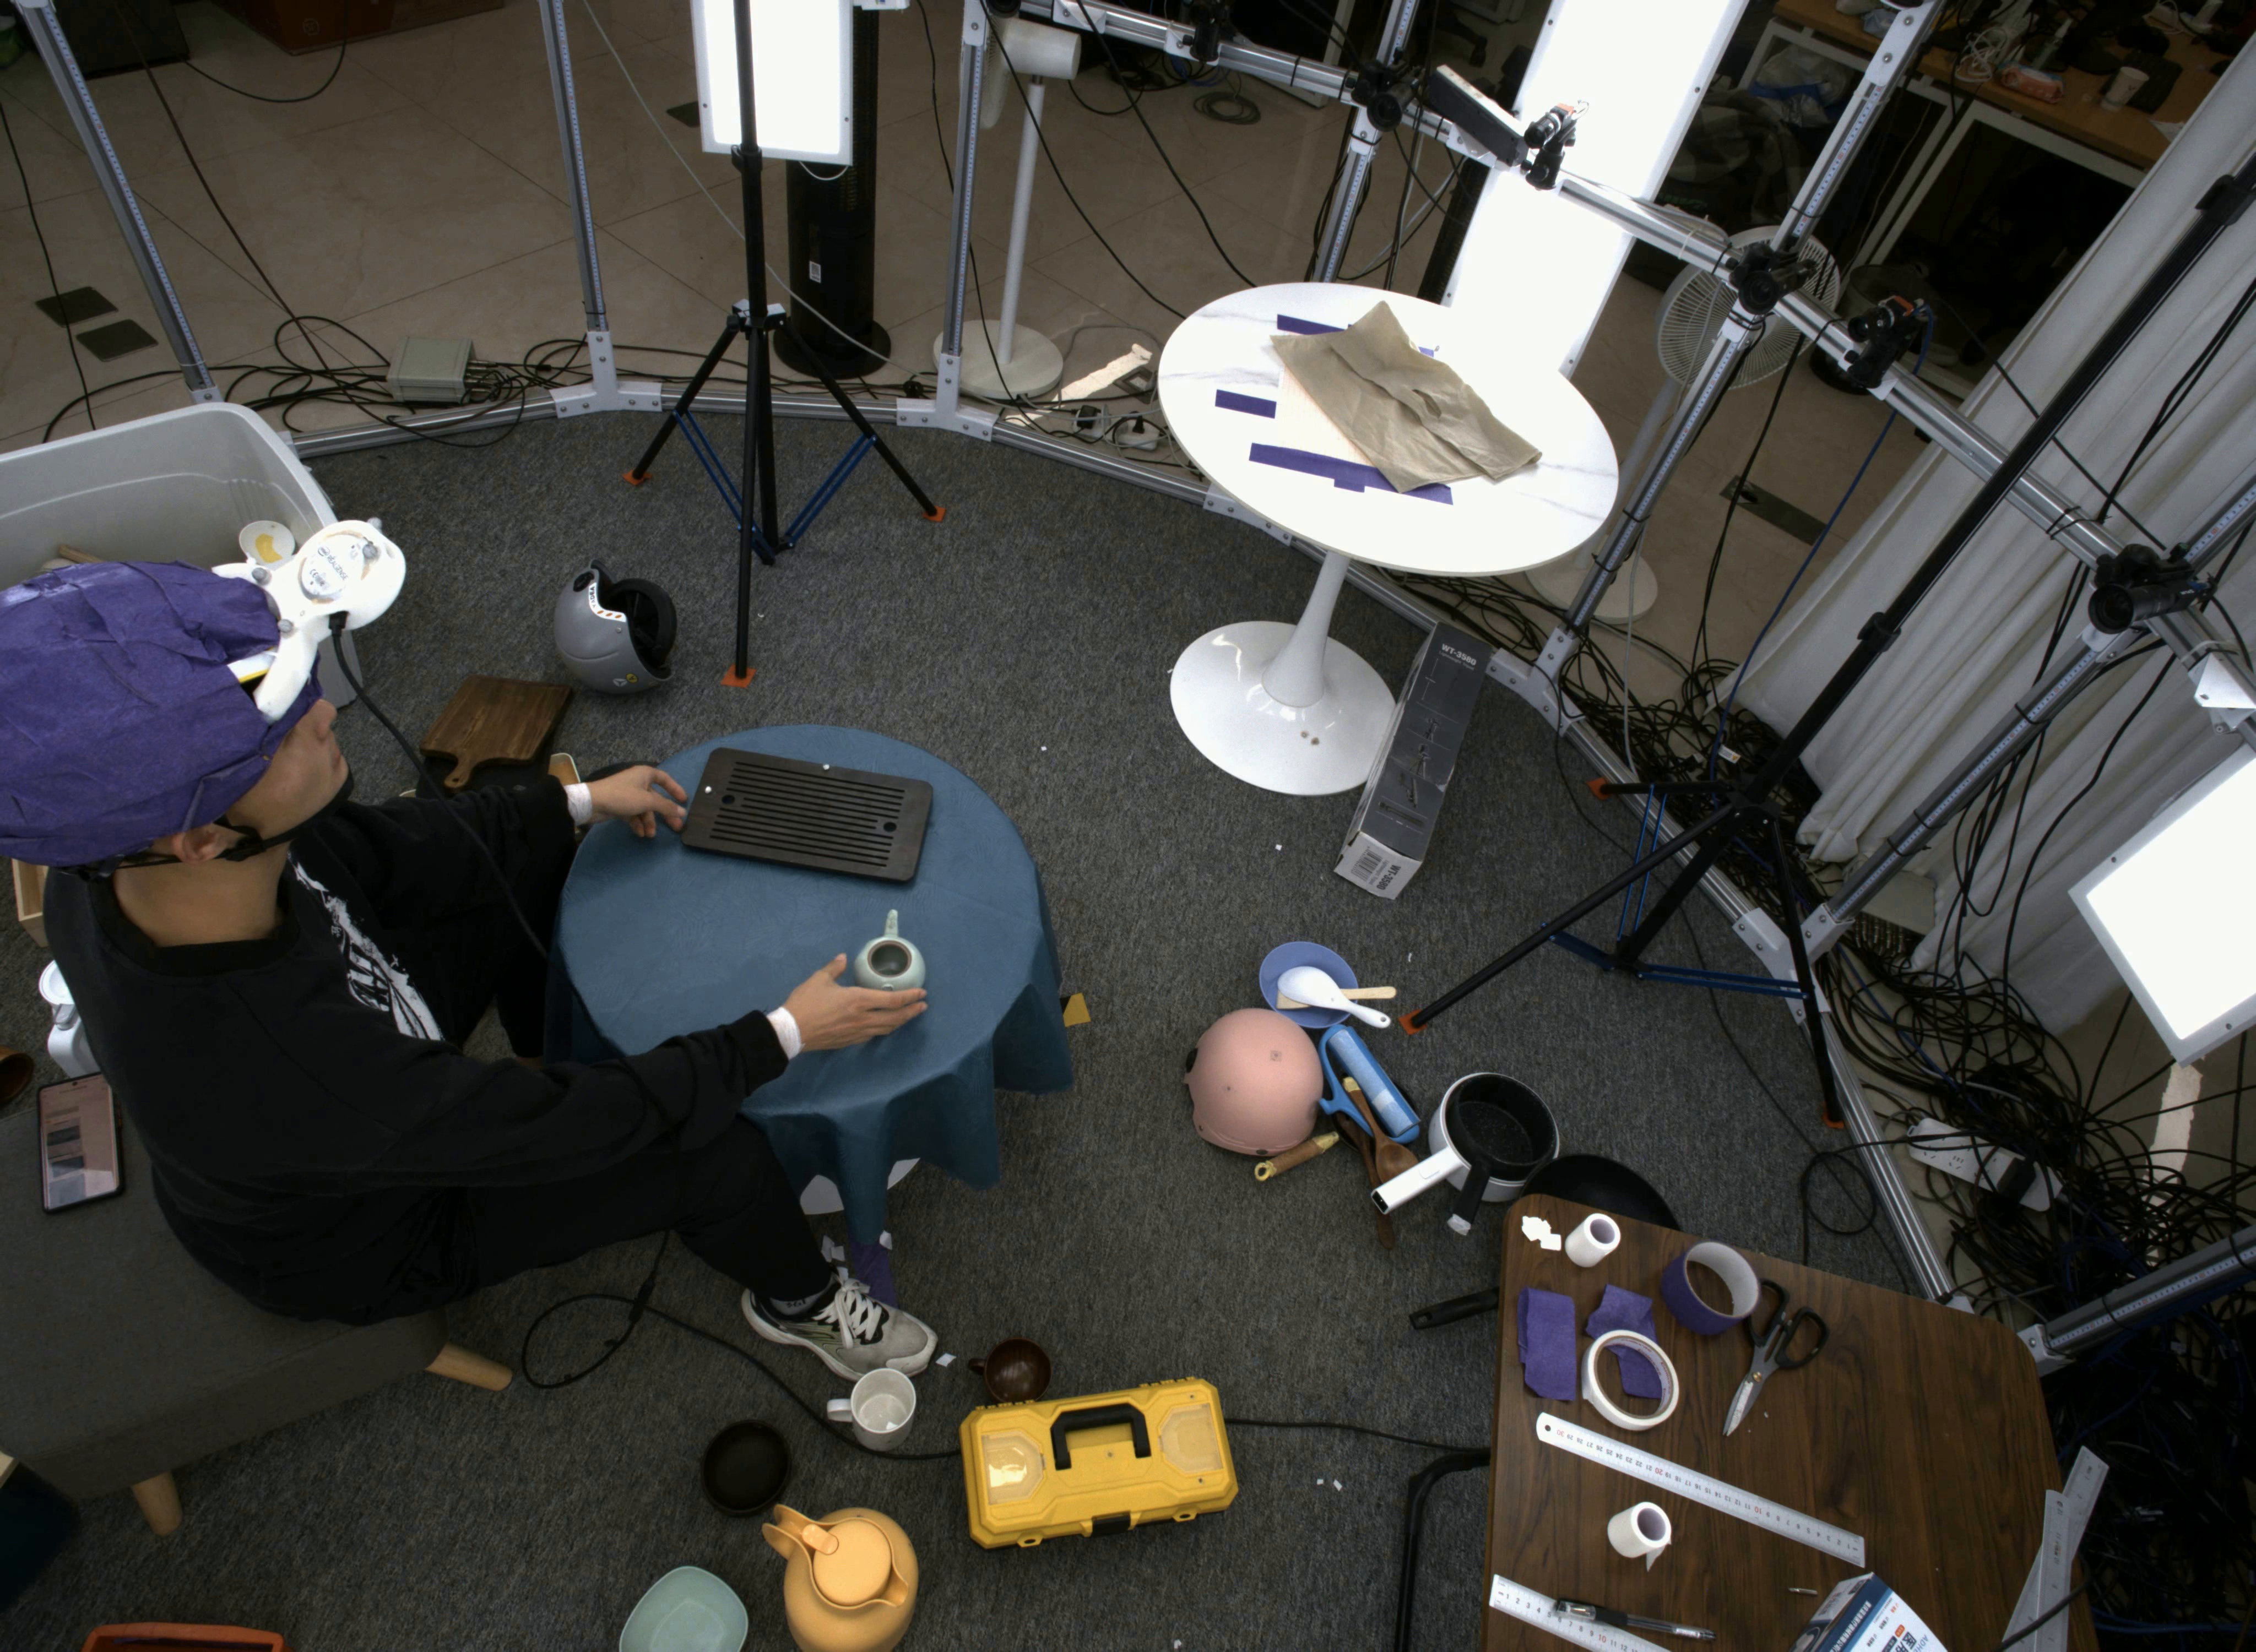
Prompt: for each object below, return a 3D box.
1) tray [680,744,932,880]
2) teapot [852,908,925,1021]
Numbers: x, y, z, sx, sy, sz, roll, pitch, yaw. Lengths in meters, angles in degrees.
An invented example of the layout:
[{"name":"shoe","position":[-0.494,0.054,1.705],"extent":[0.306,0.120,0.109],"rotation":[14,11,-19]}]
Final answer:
[{"name":"tray","position":[-0.423,-0.018,1.724],"extent":[0.305,0.019,0.167],"rotation":[10,52,-7]},{"name":"teapot","position":[-0.290,0.174,1.579],"extent":[0.088,0.076,0.141],"rotation":[5,51,-10]}]
